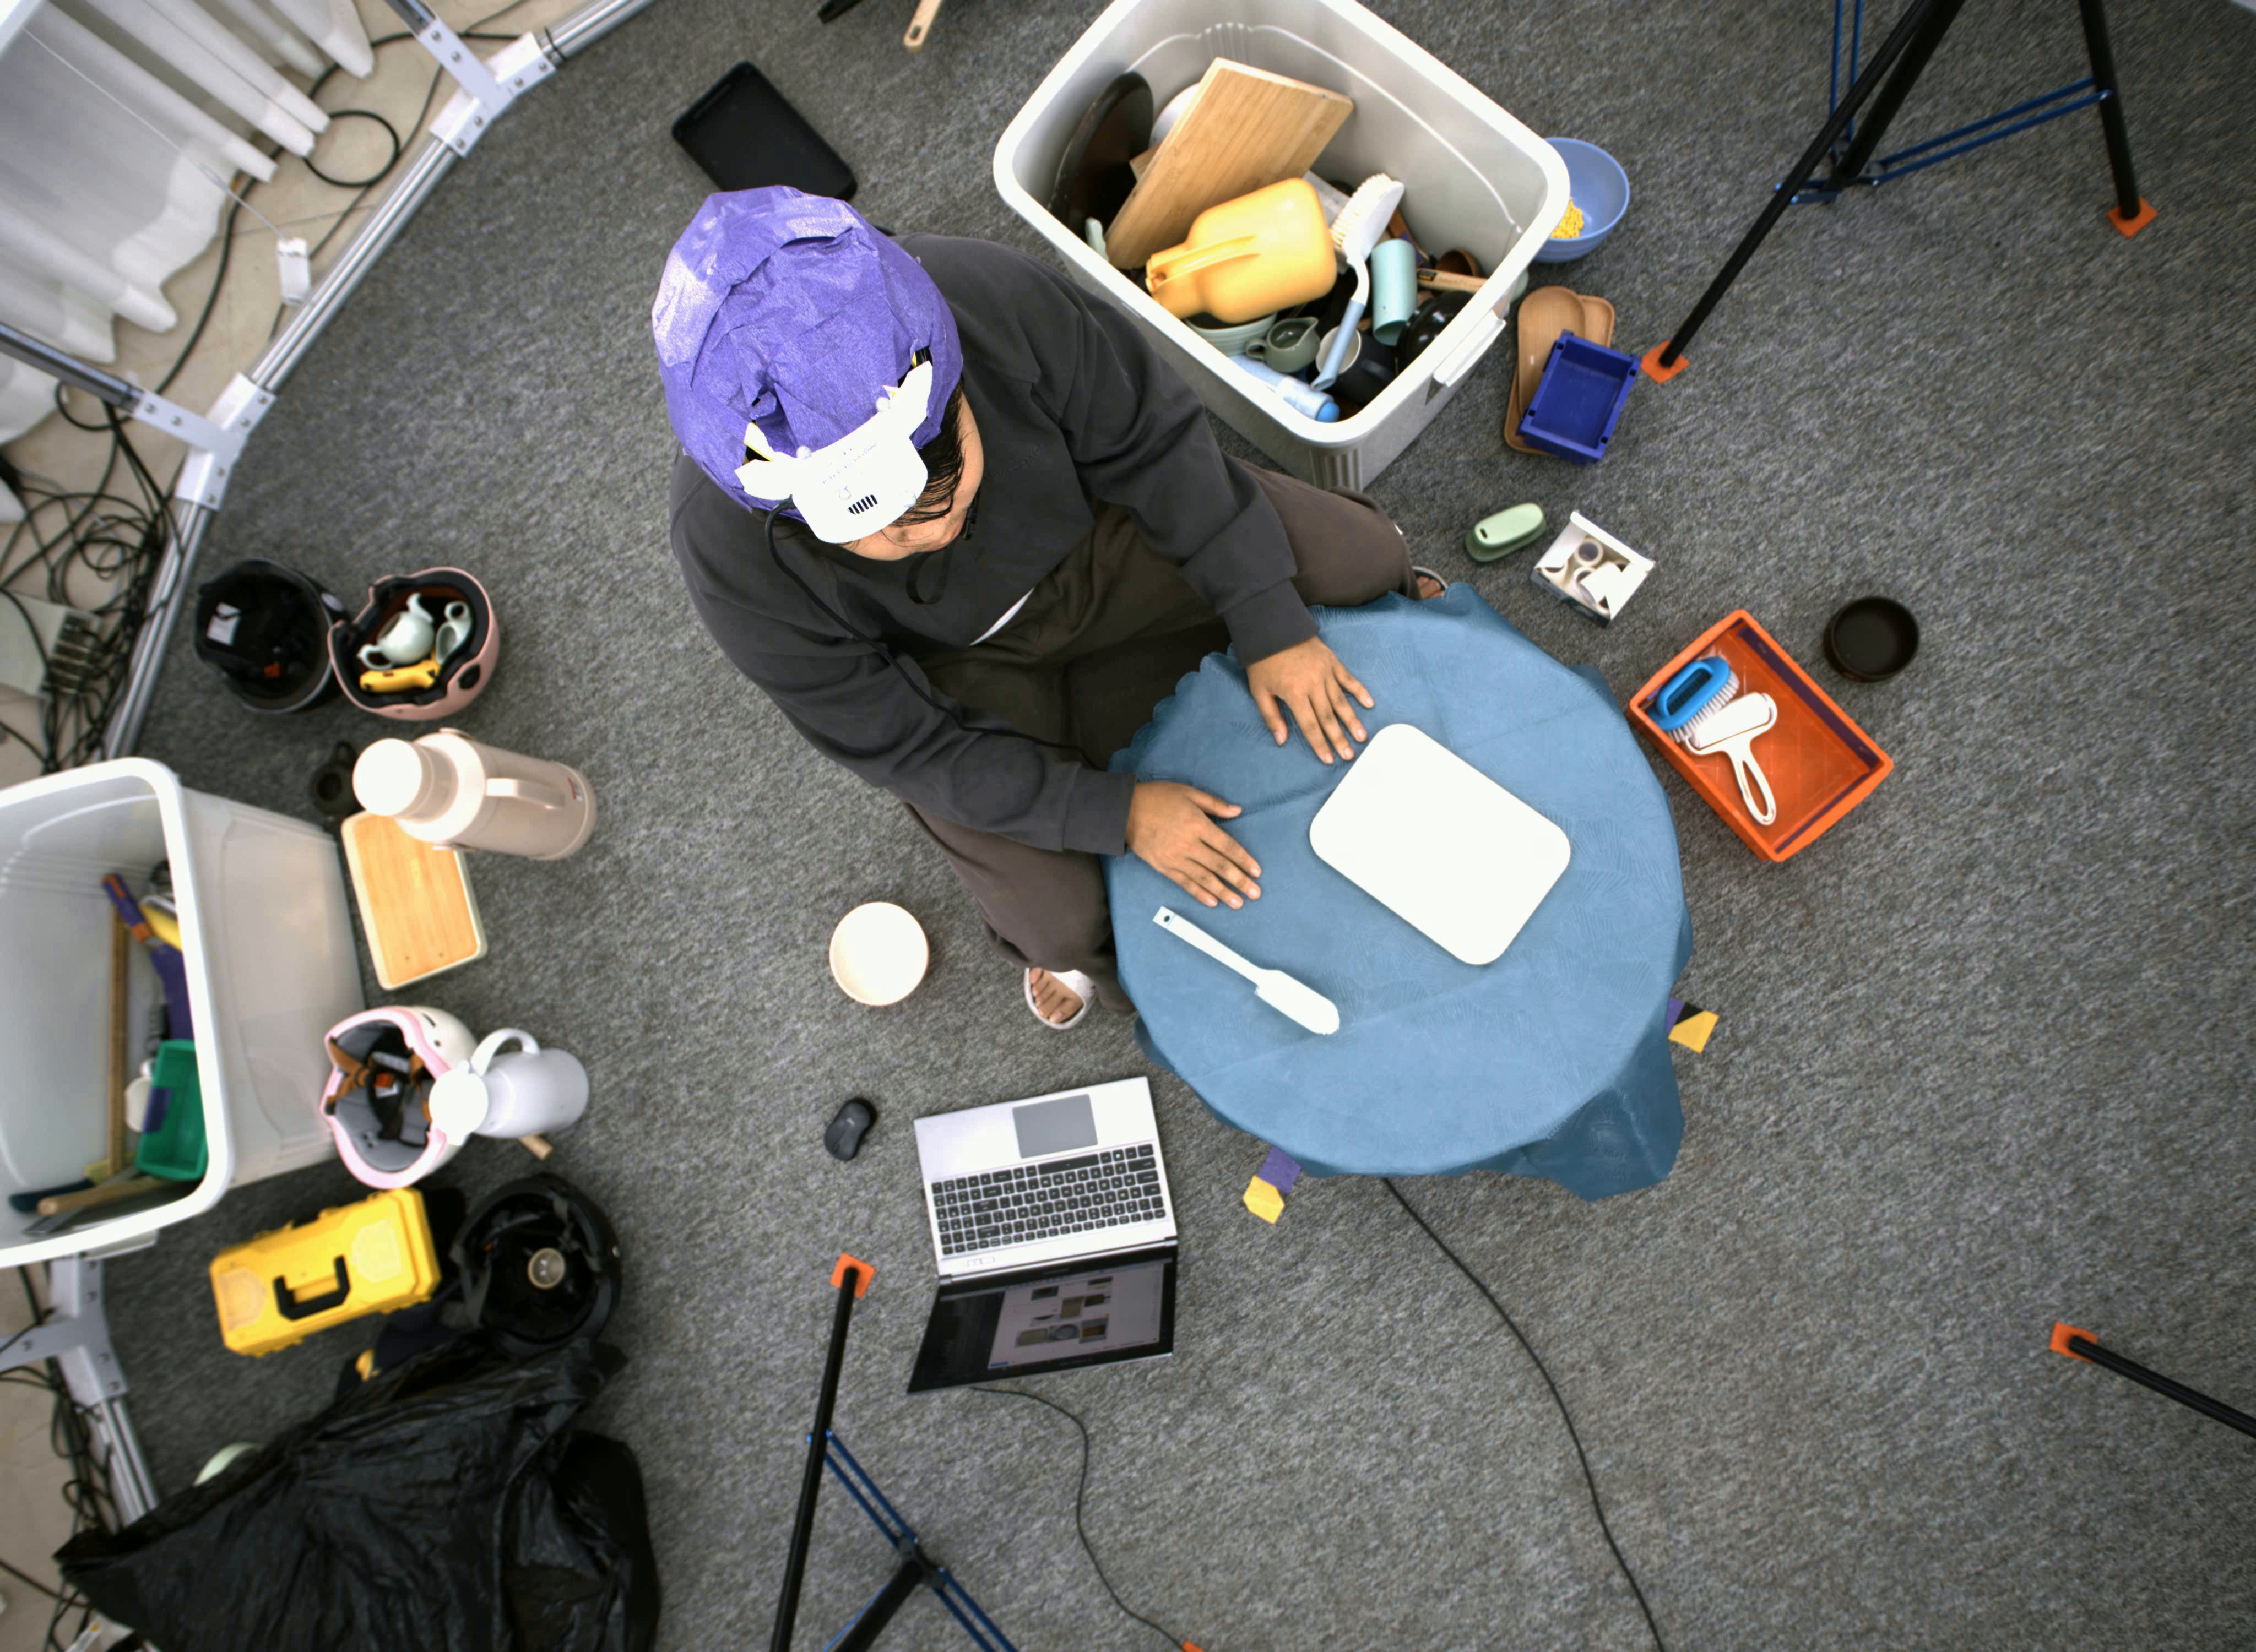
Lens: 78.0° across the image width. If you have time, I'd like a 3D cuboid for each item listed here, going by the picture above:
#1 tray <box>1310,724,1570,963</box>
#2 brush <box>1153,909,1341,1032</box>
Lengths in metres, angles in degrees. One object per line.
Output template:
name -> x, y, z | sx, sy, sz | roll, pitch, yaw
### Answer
tray -> 0.325, 0.016, 1.444 | 0.239, 0.017, 0.171 | 37, 93, 11
brush -> 0.123, 0.151, 1.469 | 0.228, 0.050, 0.037 | 29, 84, 20
